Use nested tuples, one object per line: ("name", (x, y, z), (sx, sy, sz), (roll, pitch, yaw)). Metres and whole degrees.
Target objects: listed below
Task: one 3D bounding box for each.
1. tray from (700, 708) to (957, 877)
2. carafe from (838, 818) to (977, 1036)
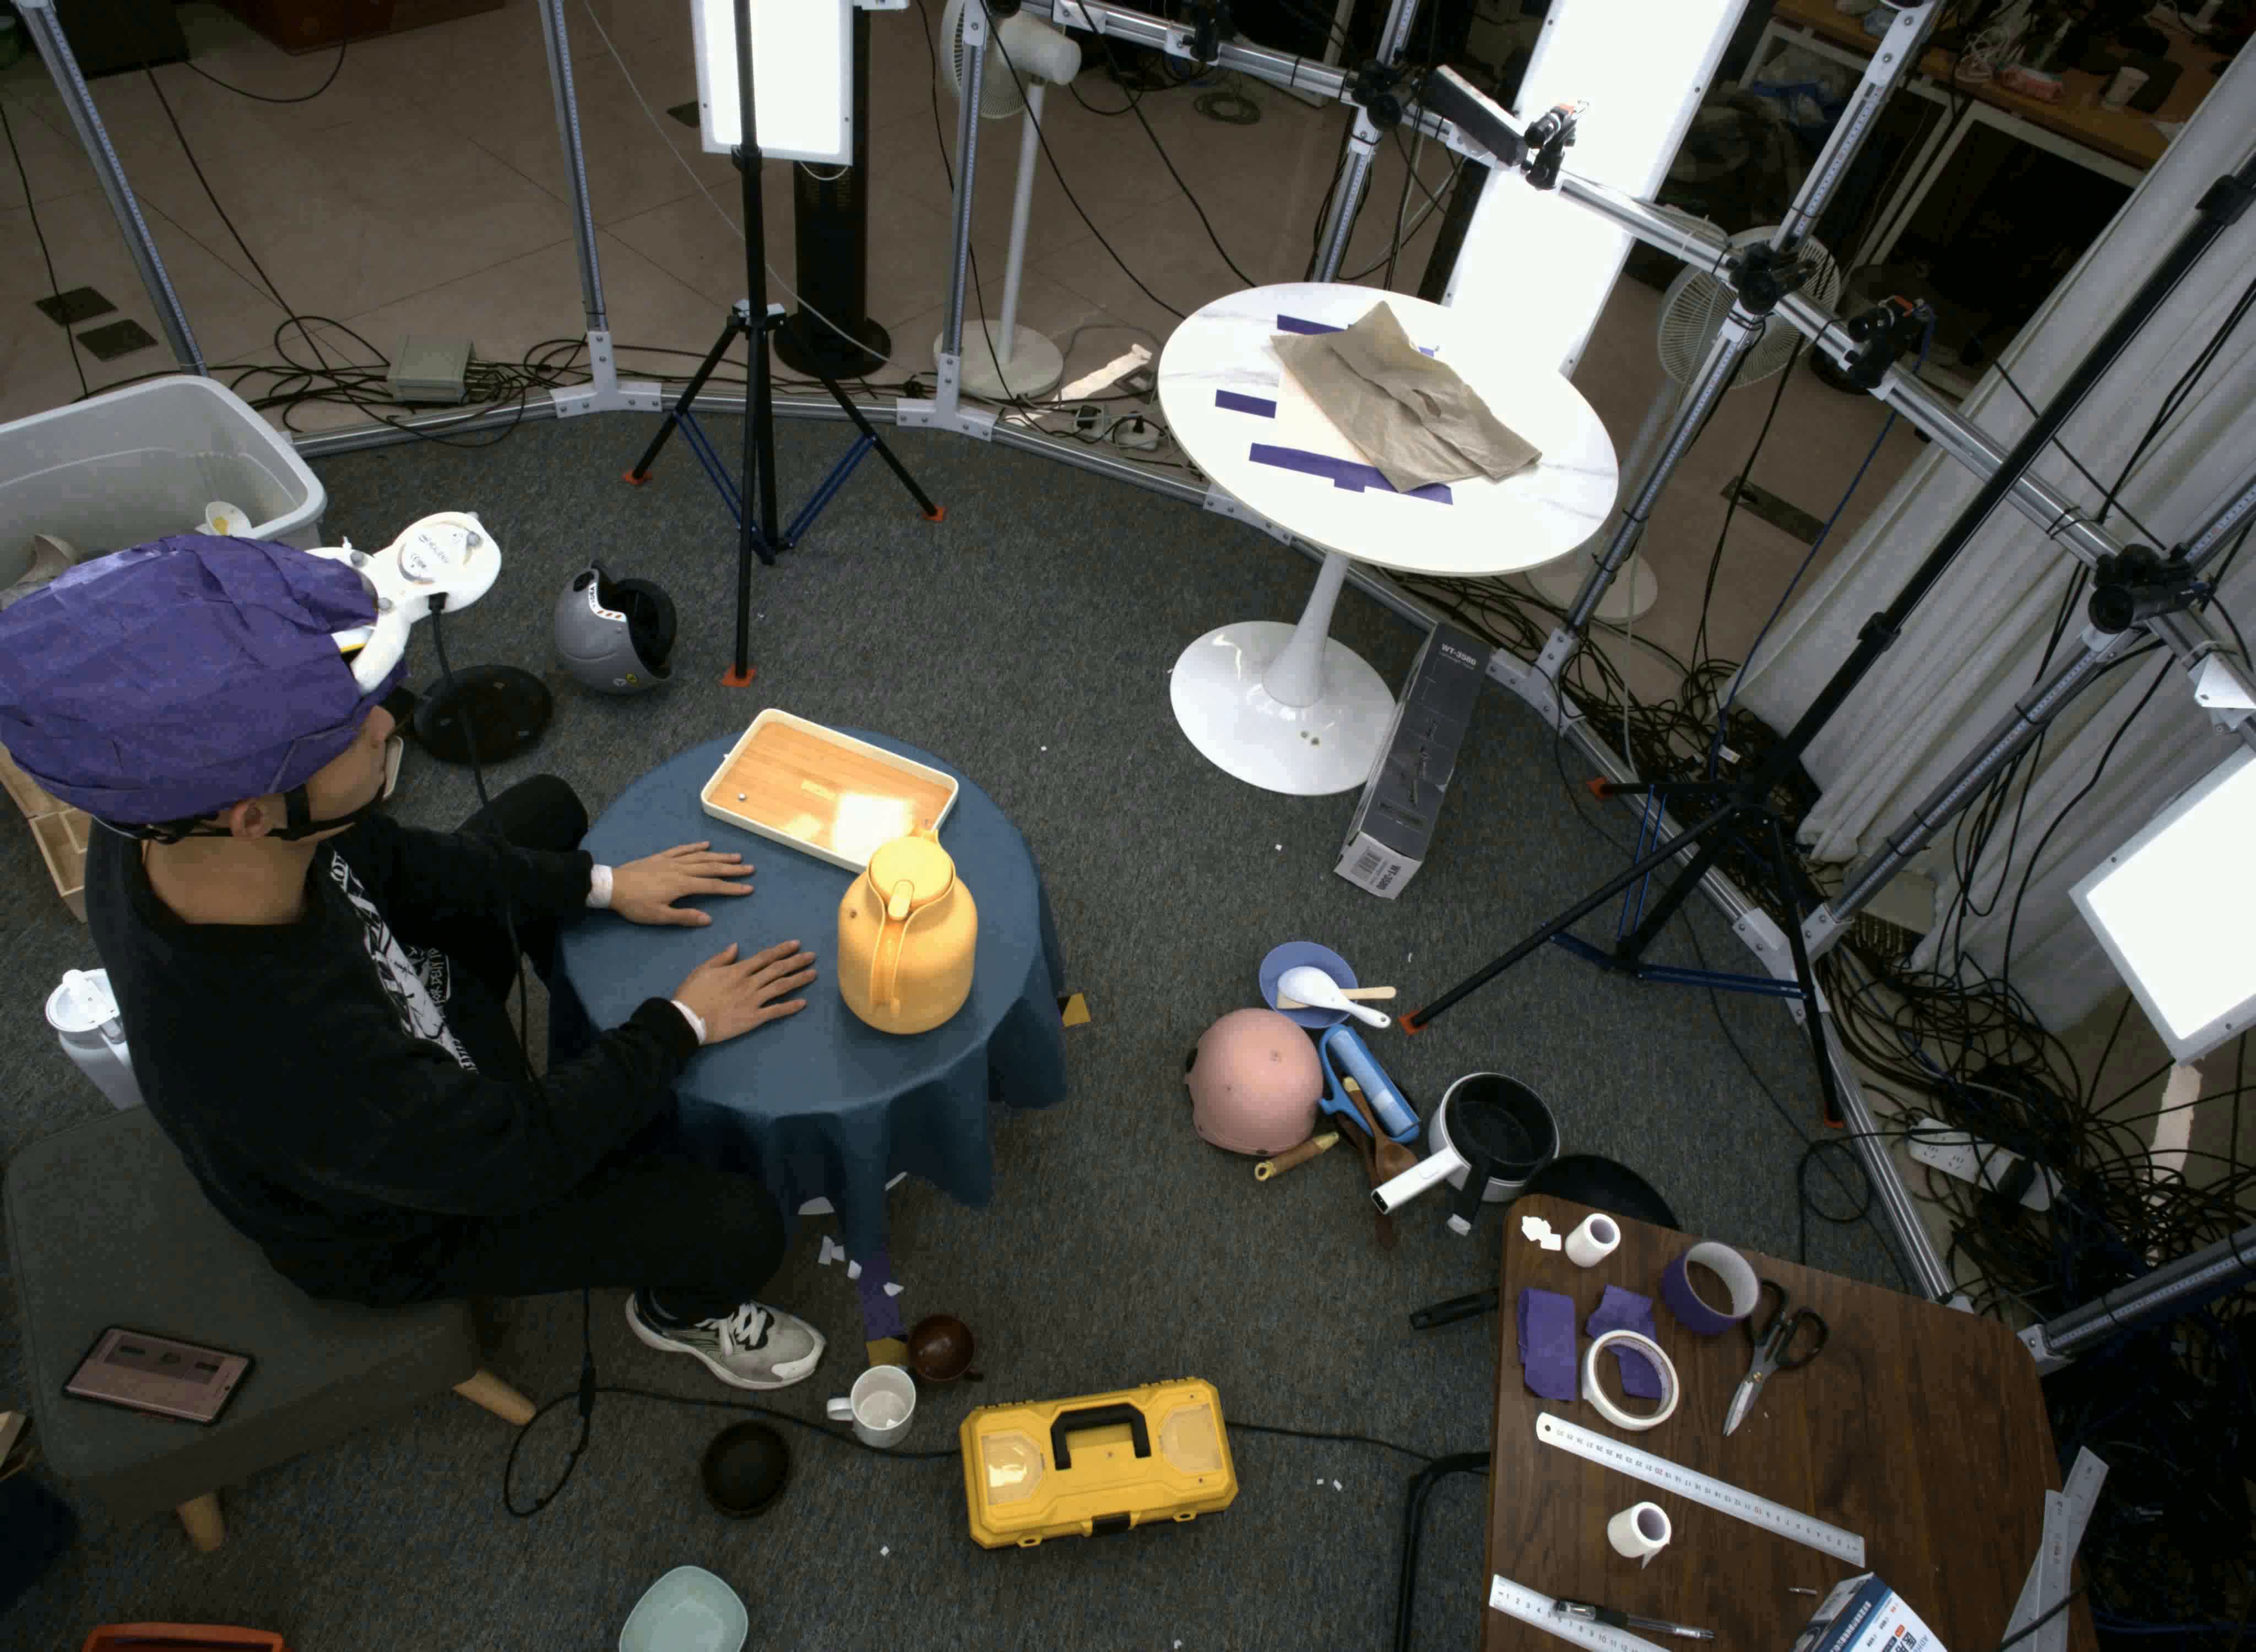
("tray", (-0.398, -0.041, 1.742), (0.297, 0.028, 0.190), (21, 51, 2))
("carafe", (-0.260, 0.130, 1.497), (0.162, 0.267, 0.199), (12, 50, 1))
